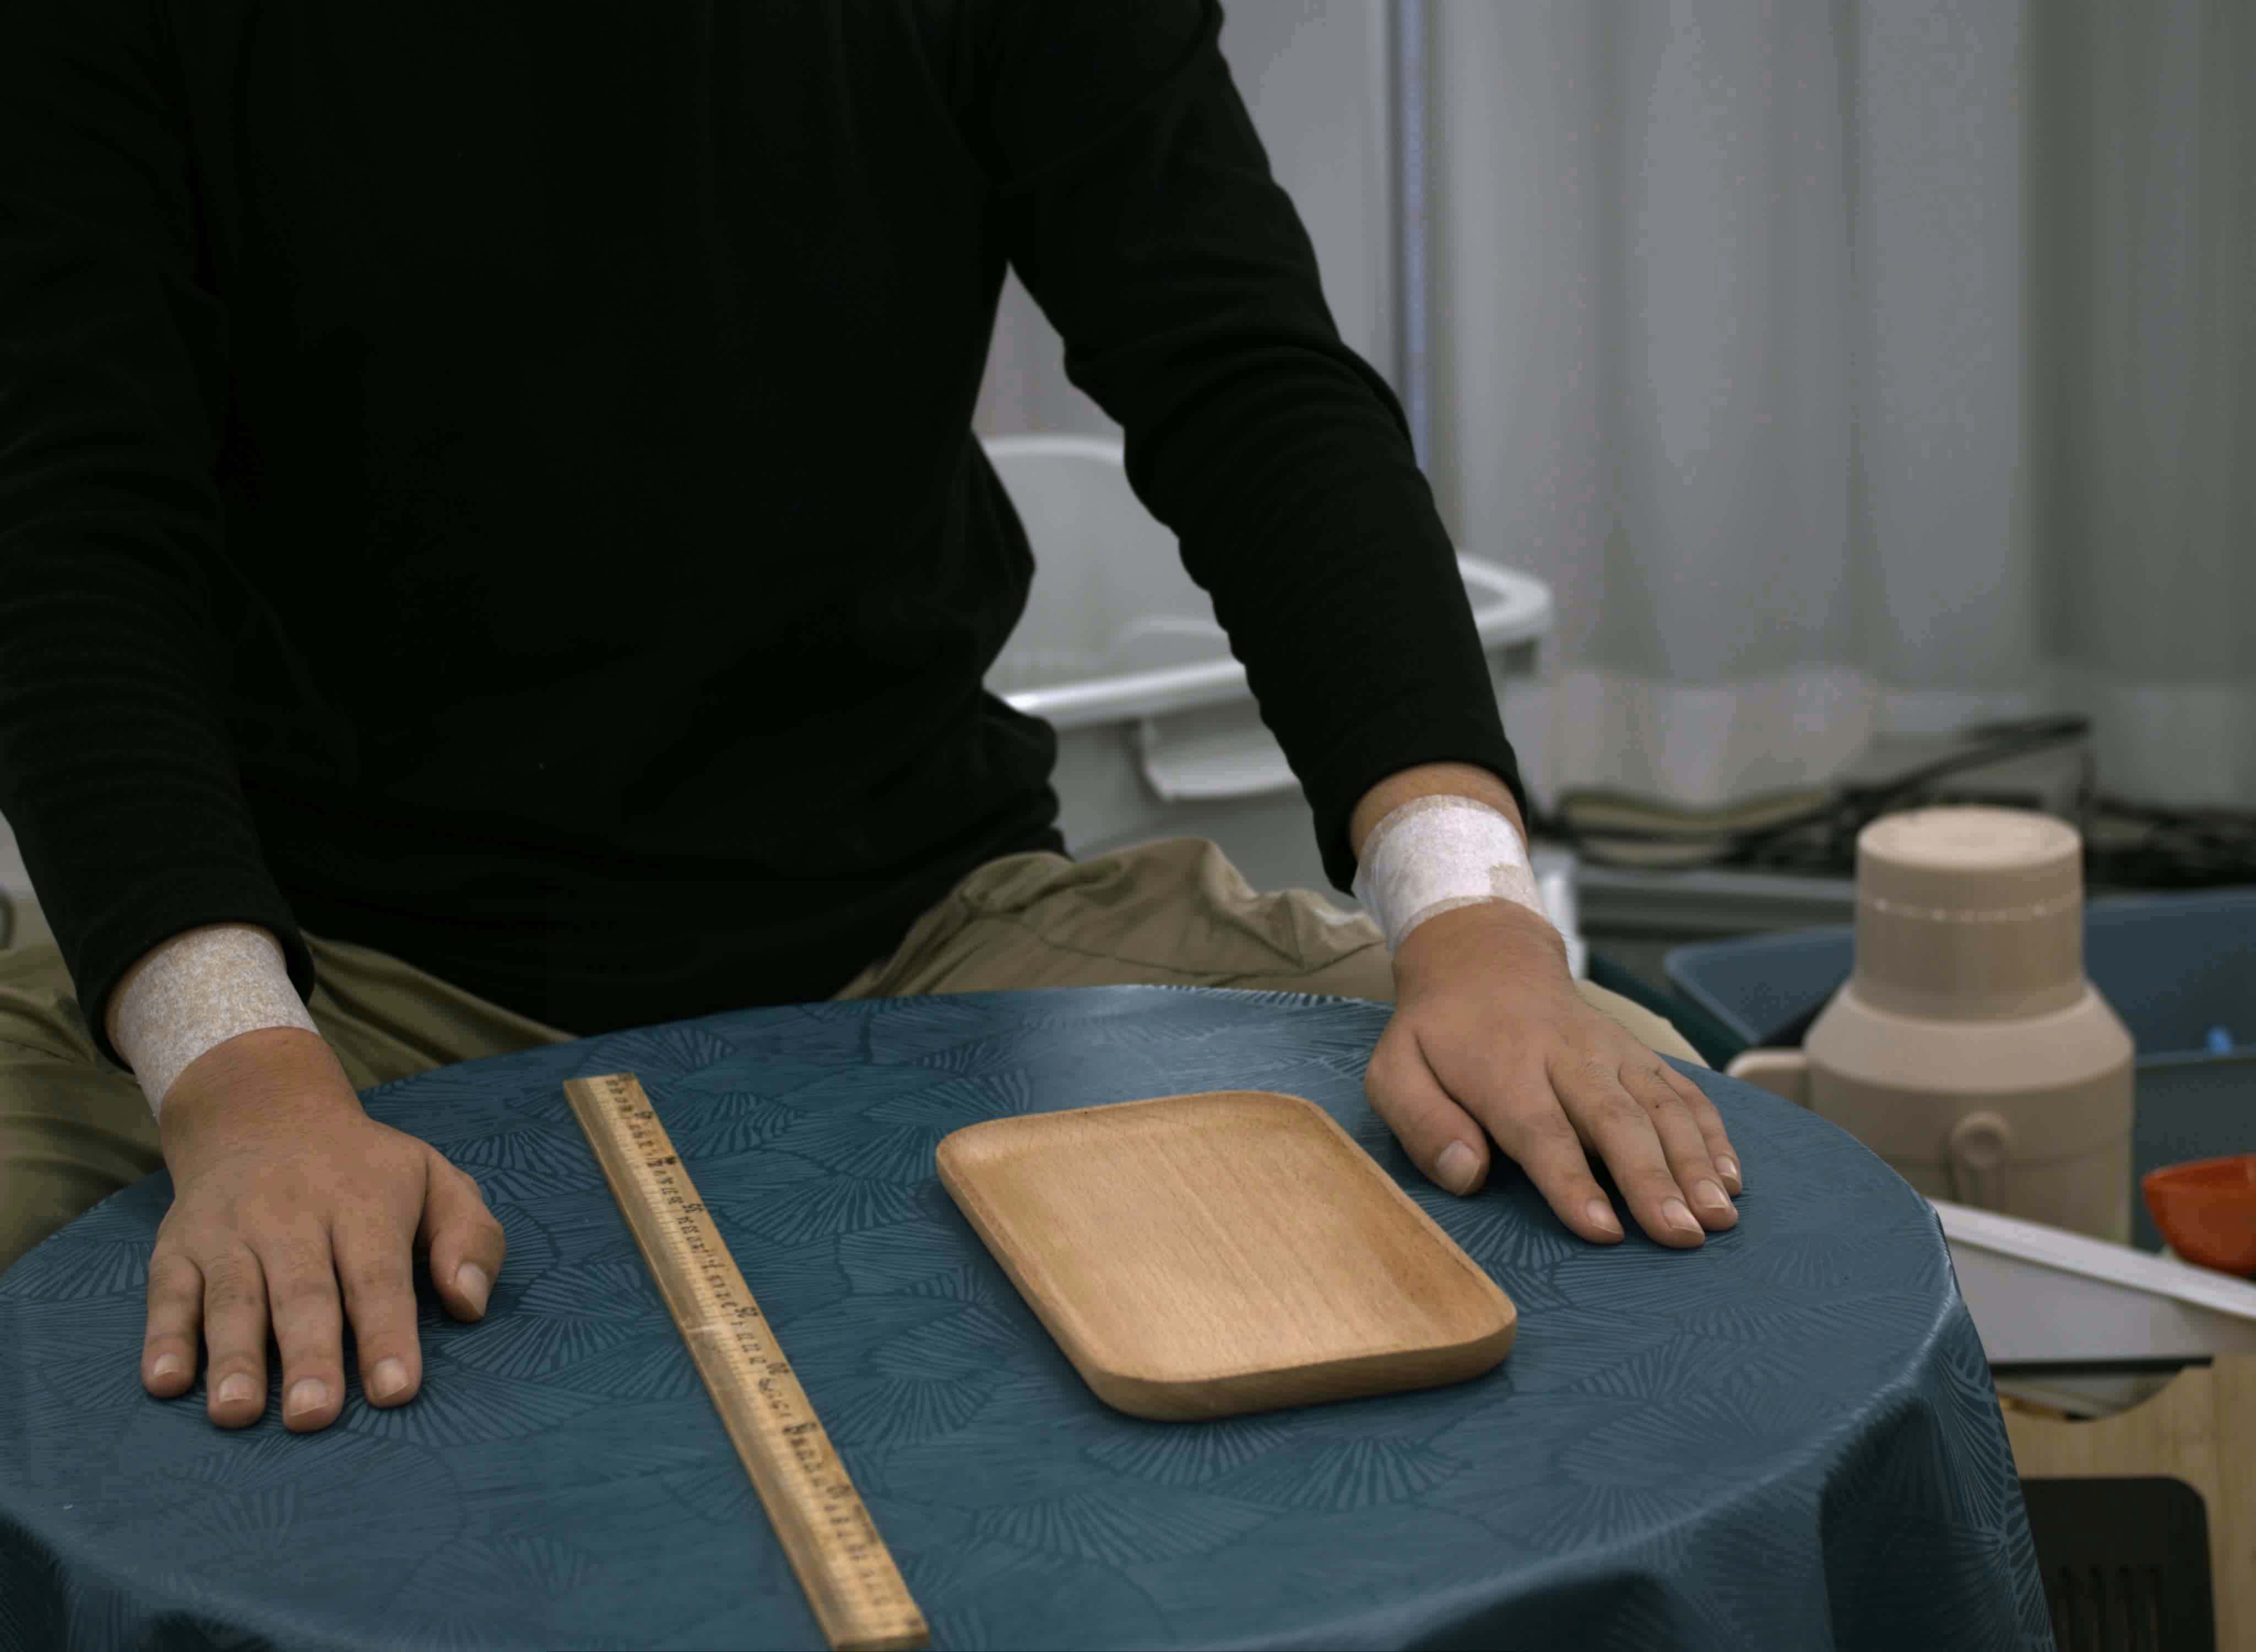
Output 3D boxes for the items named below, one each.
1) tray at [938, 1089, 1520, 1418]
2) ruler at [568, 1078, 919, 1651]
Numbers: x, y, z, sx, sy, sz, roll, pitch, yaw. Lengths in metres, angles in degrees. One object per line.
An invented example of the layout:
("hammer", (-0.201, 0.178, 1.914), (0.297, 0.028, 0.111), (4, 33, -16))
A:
("tray", (0.026, 0.125, 1.637), (0.130, 0.023, 0.252), (-4, 14, -12))
("ruler", (-0.119, 0.147, 1.608), (0.026, 0.006, 0.504), (-3, 14, -13))
